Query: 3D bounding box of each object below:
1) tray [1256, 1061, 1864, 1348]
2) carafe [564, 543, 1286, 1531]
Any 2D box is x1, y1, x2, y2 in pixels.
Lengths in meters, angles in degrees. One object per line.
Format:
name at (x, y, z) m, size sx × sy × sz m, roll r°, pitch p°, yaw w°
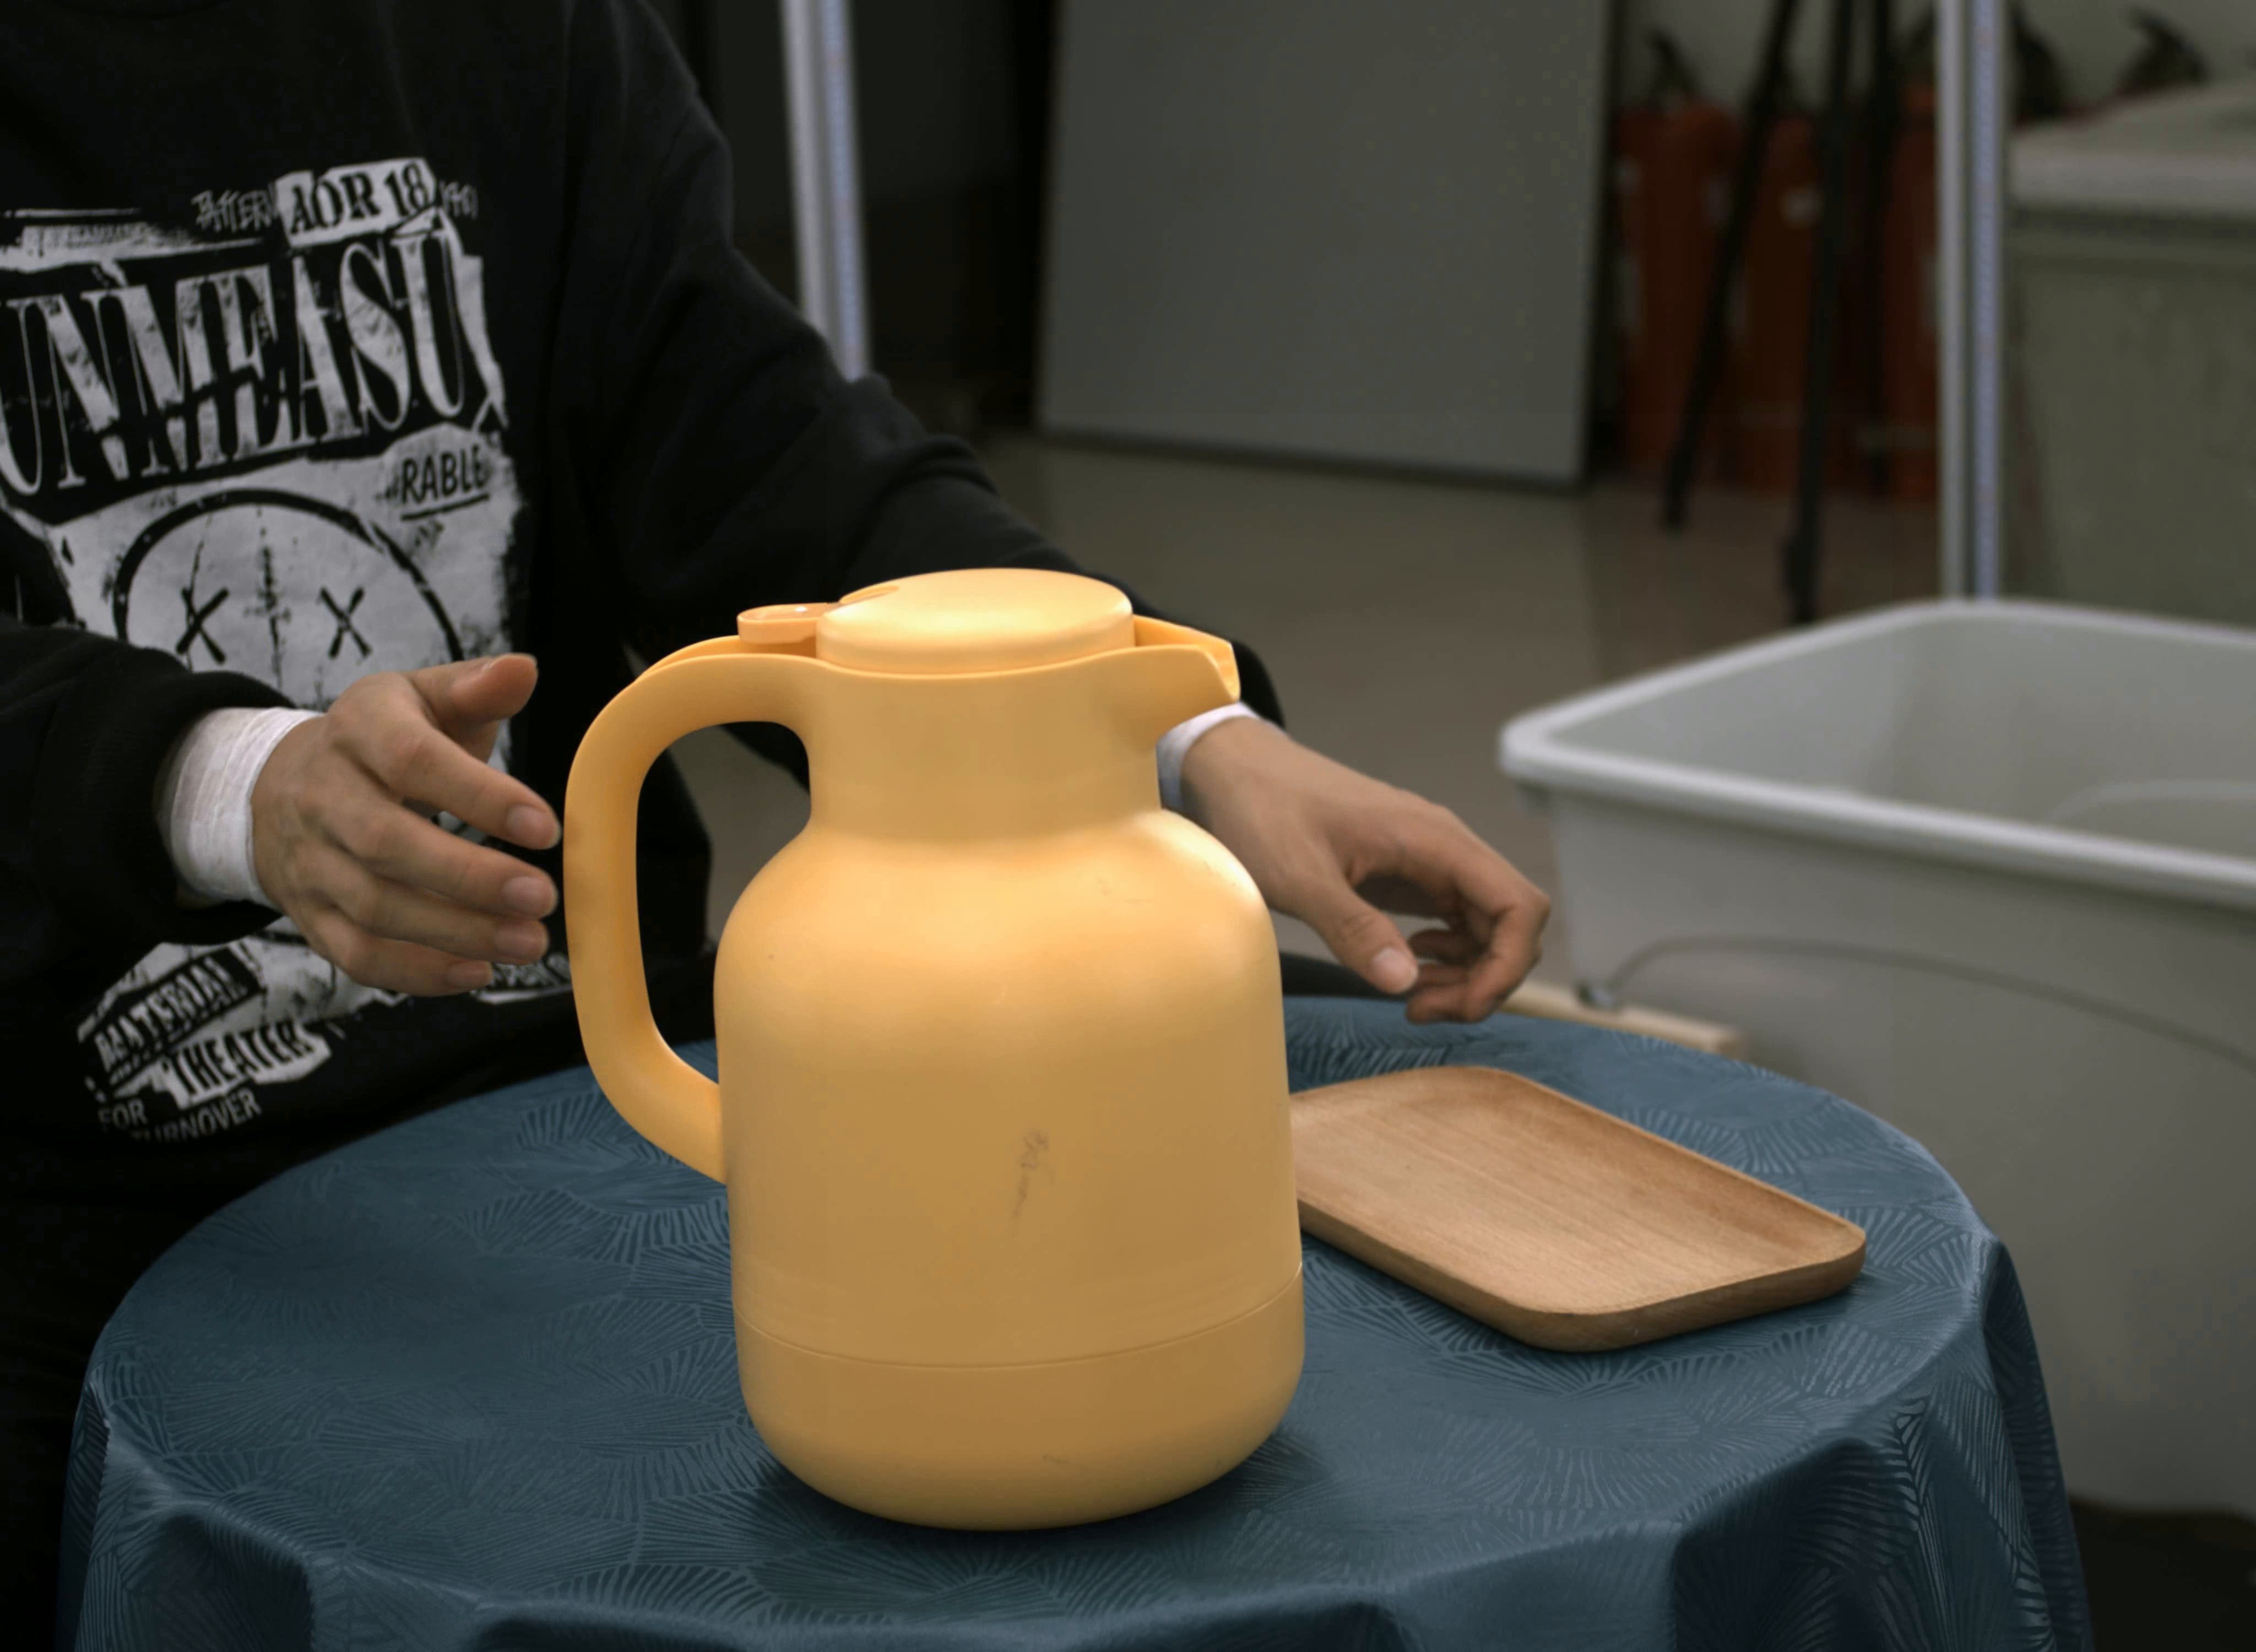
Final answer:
tray at (0.122, 0.118, 1.713) m, size 0.127 × 0.023 × 0.253 m, roll -8°, pitch 13°, yaw -25°
carafe at (-0.057, 0.054, 1.514) m, size 0.201 × 0.263 × 0.162 m, roll 1°, pitch 12°, yaw 14°
